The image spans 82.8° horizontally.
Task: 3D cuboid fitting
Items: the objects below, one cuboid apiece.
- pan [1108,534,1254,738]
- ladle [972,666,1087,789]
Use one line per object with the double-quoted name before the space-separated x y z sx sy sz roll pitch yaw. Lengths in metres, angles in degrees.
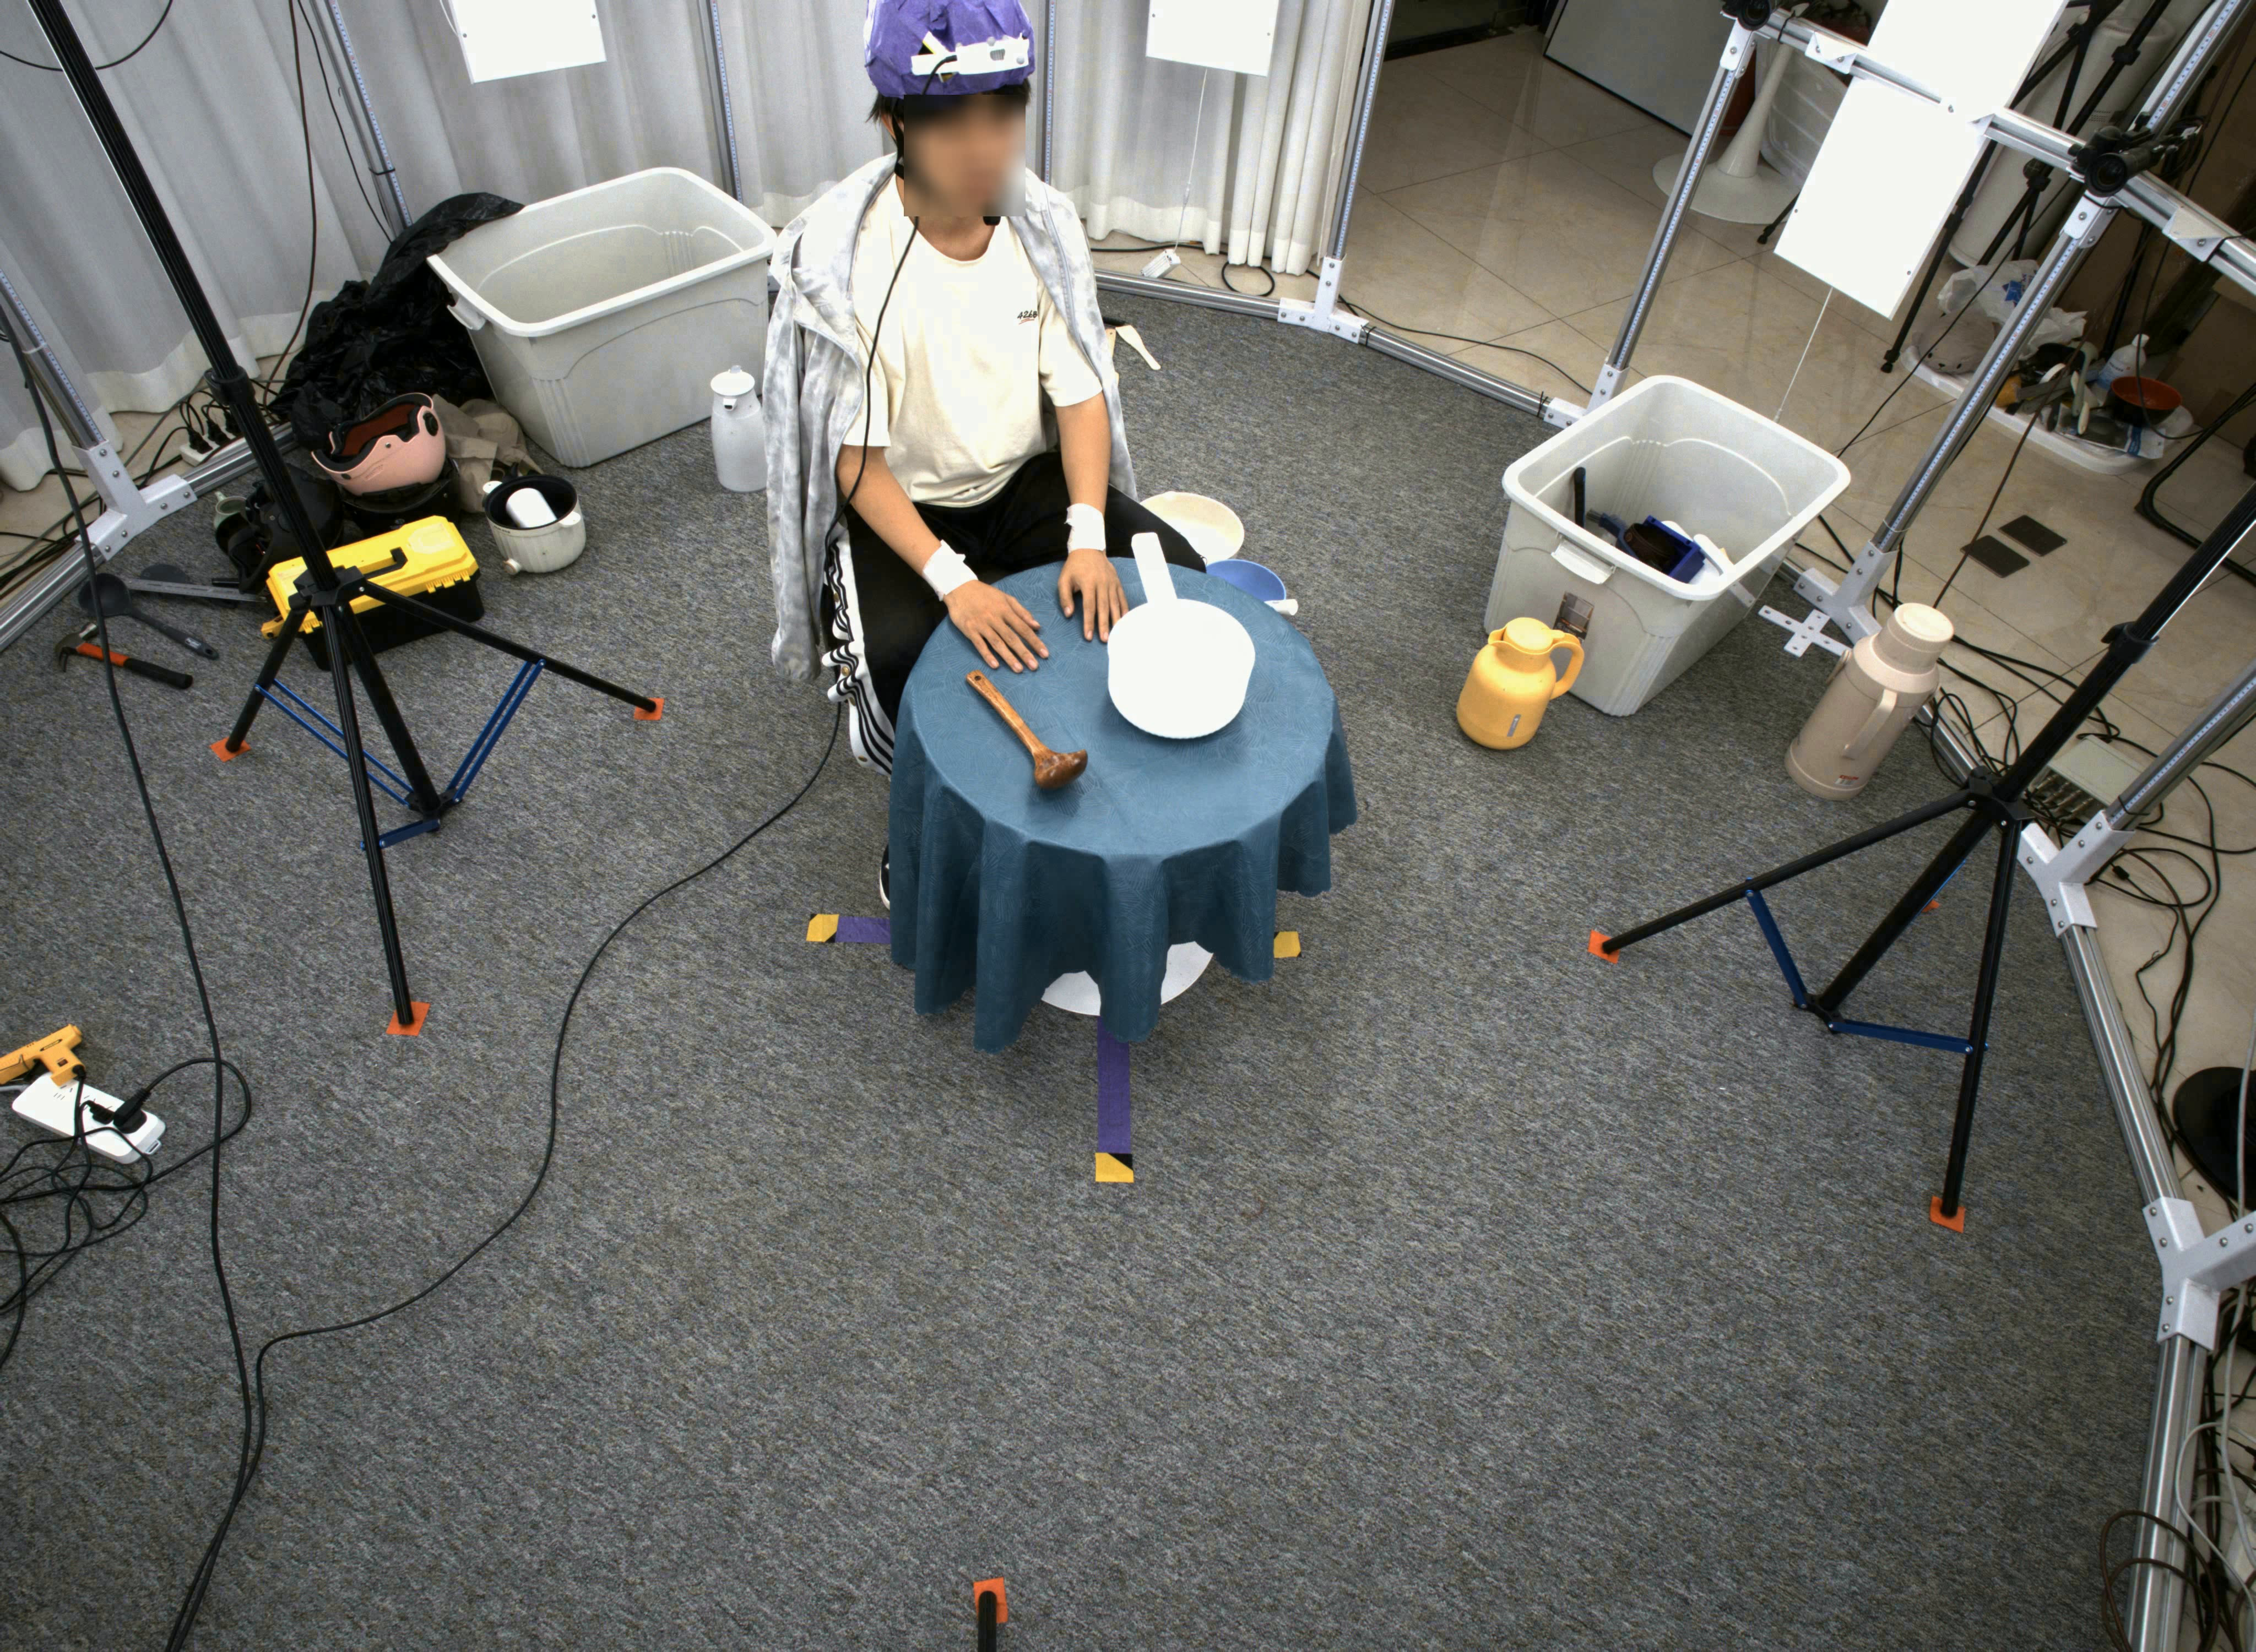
"pan" 0.057 -0.272 1.839 0.201 0.099 0.364 -7 49 -8
"ladle" -0.146 -0.147 1.727 0.082 0.075 0.280 -23 55 -20
